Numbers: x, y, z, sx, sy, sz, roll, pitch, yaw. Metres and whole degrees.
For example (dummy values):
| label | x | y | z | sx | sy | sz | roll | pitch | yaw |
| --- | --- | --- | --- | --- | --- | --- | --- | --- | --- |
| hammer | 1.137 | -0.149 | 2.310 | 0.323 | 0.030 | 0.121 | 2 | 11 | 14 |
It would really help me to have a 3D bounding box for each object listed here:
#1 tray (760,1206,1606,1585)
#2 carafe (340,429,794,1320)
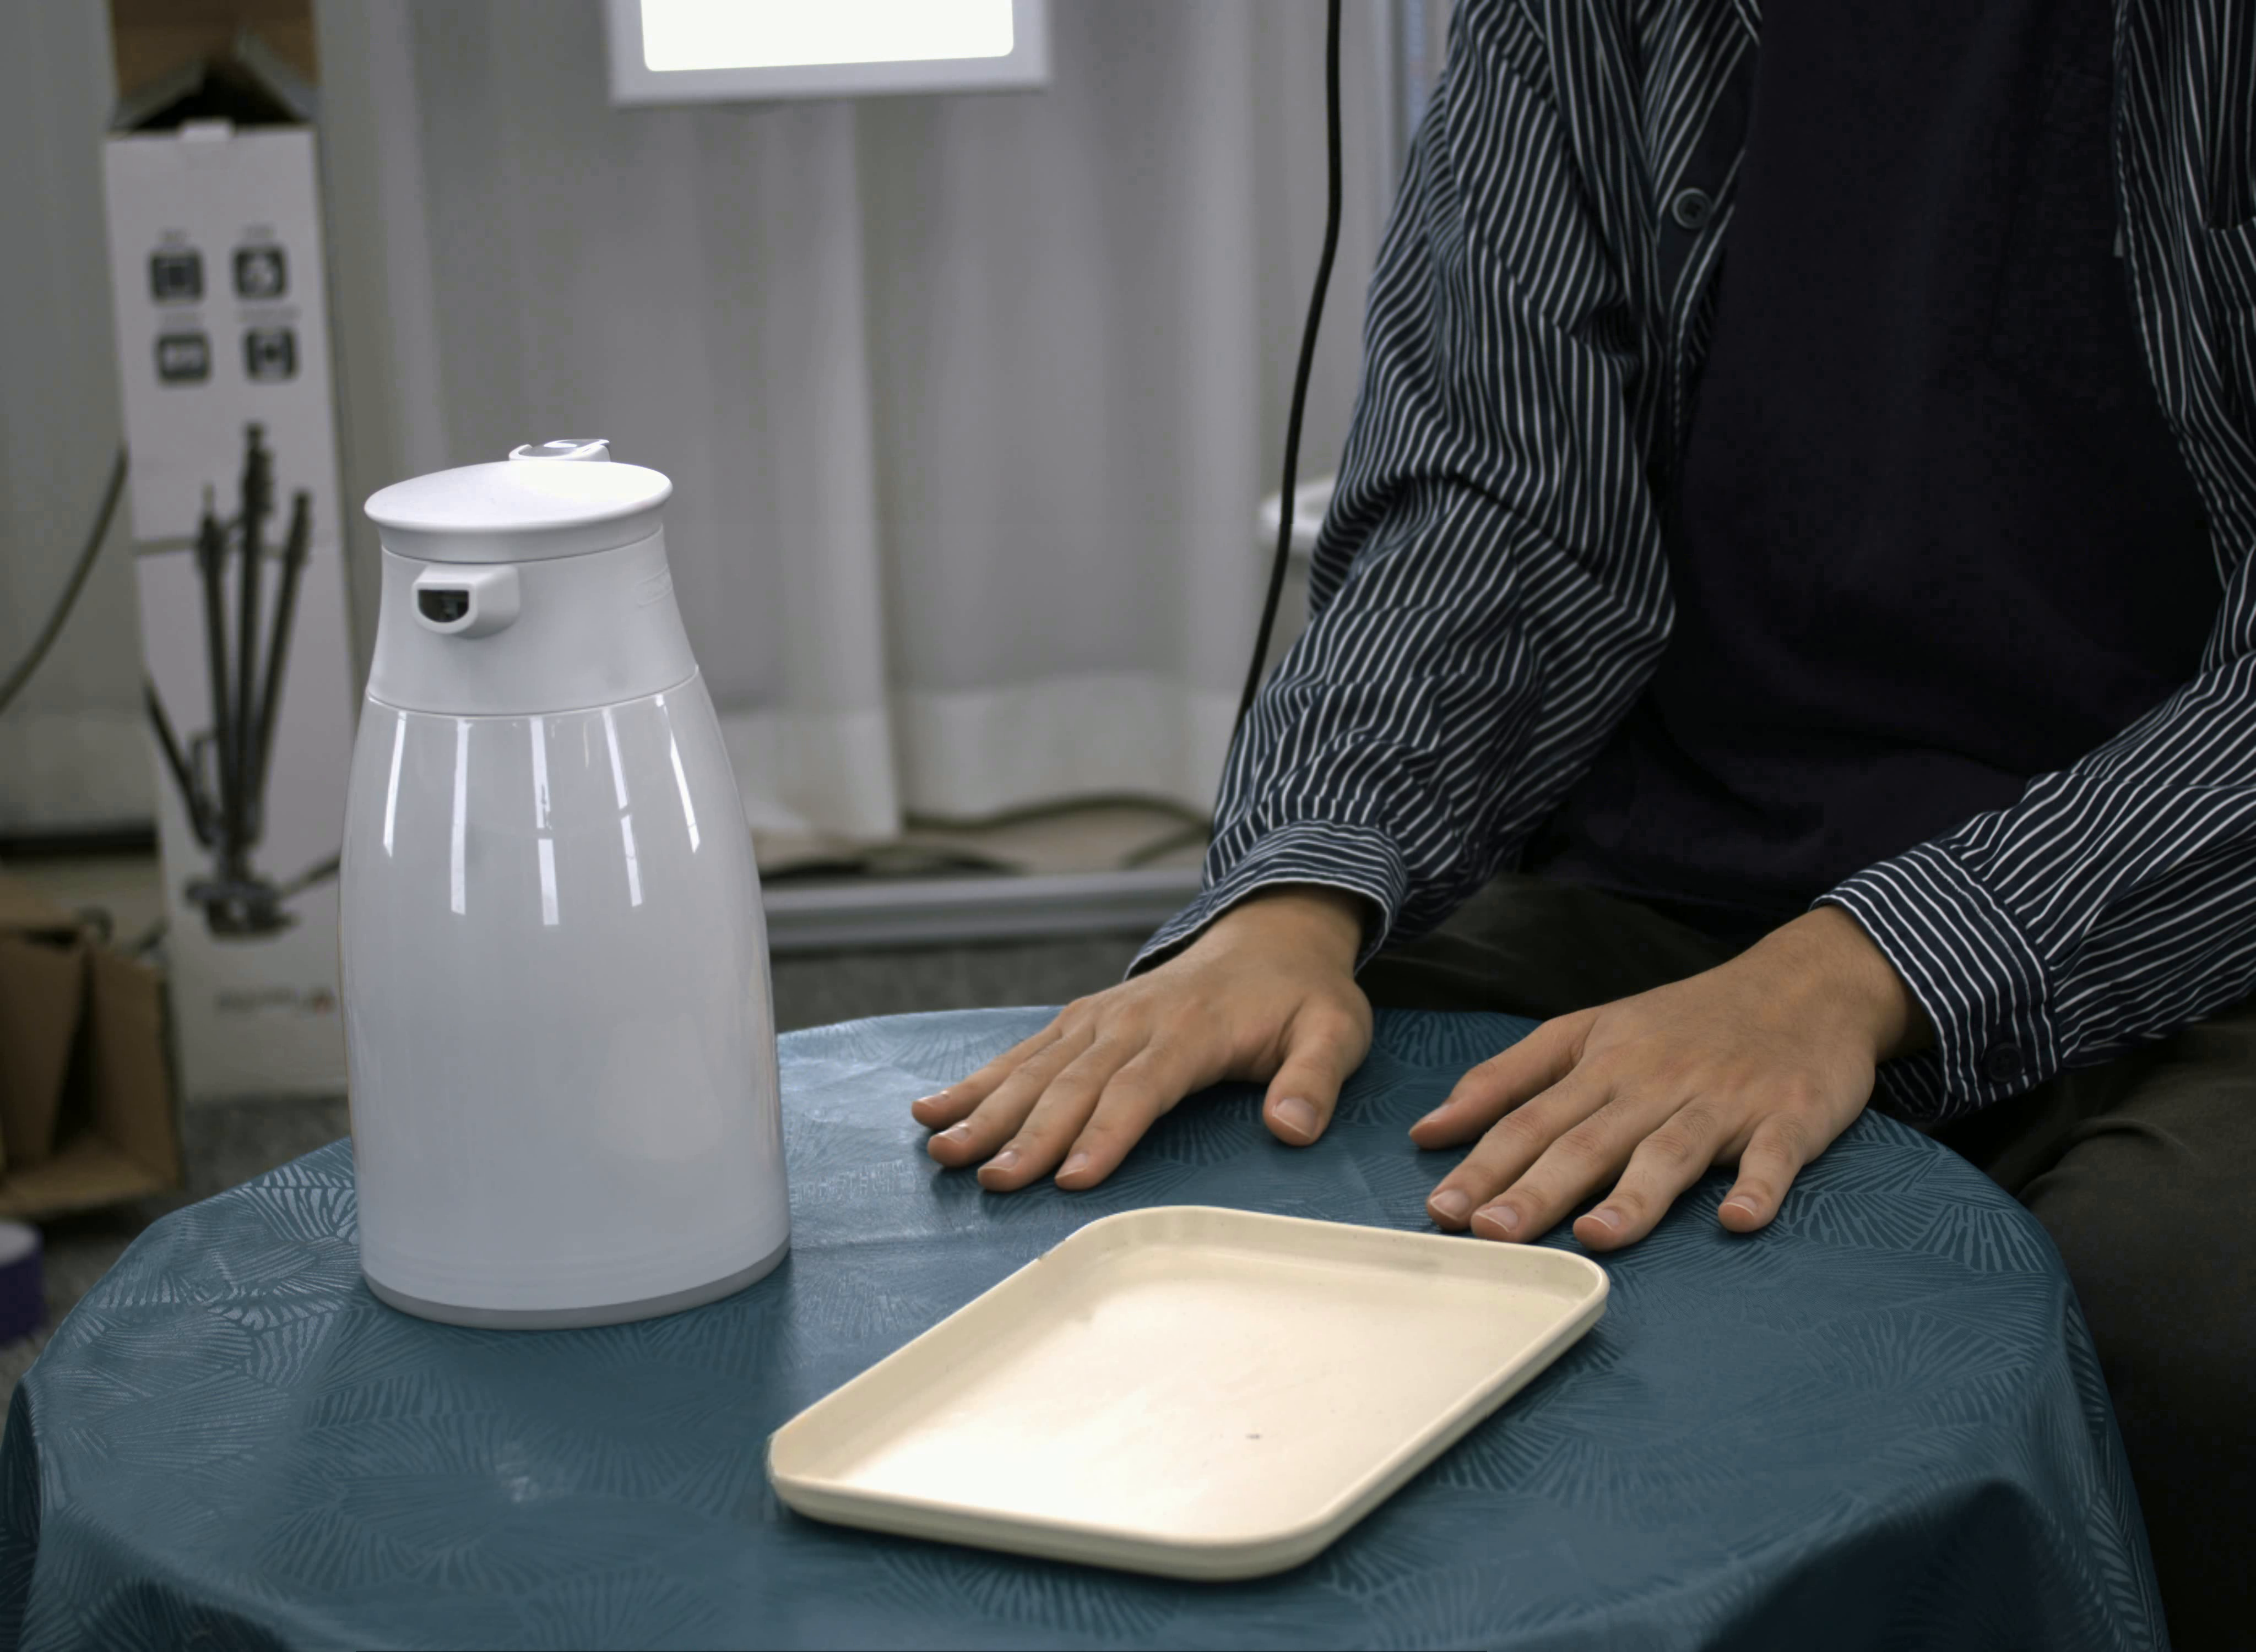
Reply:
| label | x | y | z | sx | sy | sz | roll | pitch | yaw |
| --- | --- | --- | --- | --- | --- | --- | --- | --- | --- |
| tray | 0.019 | 0.157 | 1.521 | 0.171 | 0.017 | 0.240 | 6 | 17 | 27 |
| carafe | -0.172 | 0.006 | 1.671 | 0.132 | 0.248 | 0.168 | -1 | 13 | 12 |
